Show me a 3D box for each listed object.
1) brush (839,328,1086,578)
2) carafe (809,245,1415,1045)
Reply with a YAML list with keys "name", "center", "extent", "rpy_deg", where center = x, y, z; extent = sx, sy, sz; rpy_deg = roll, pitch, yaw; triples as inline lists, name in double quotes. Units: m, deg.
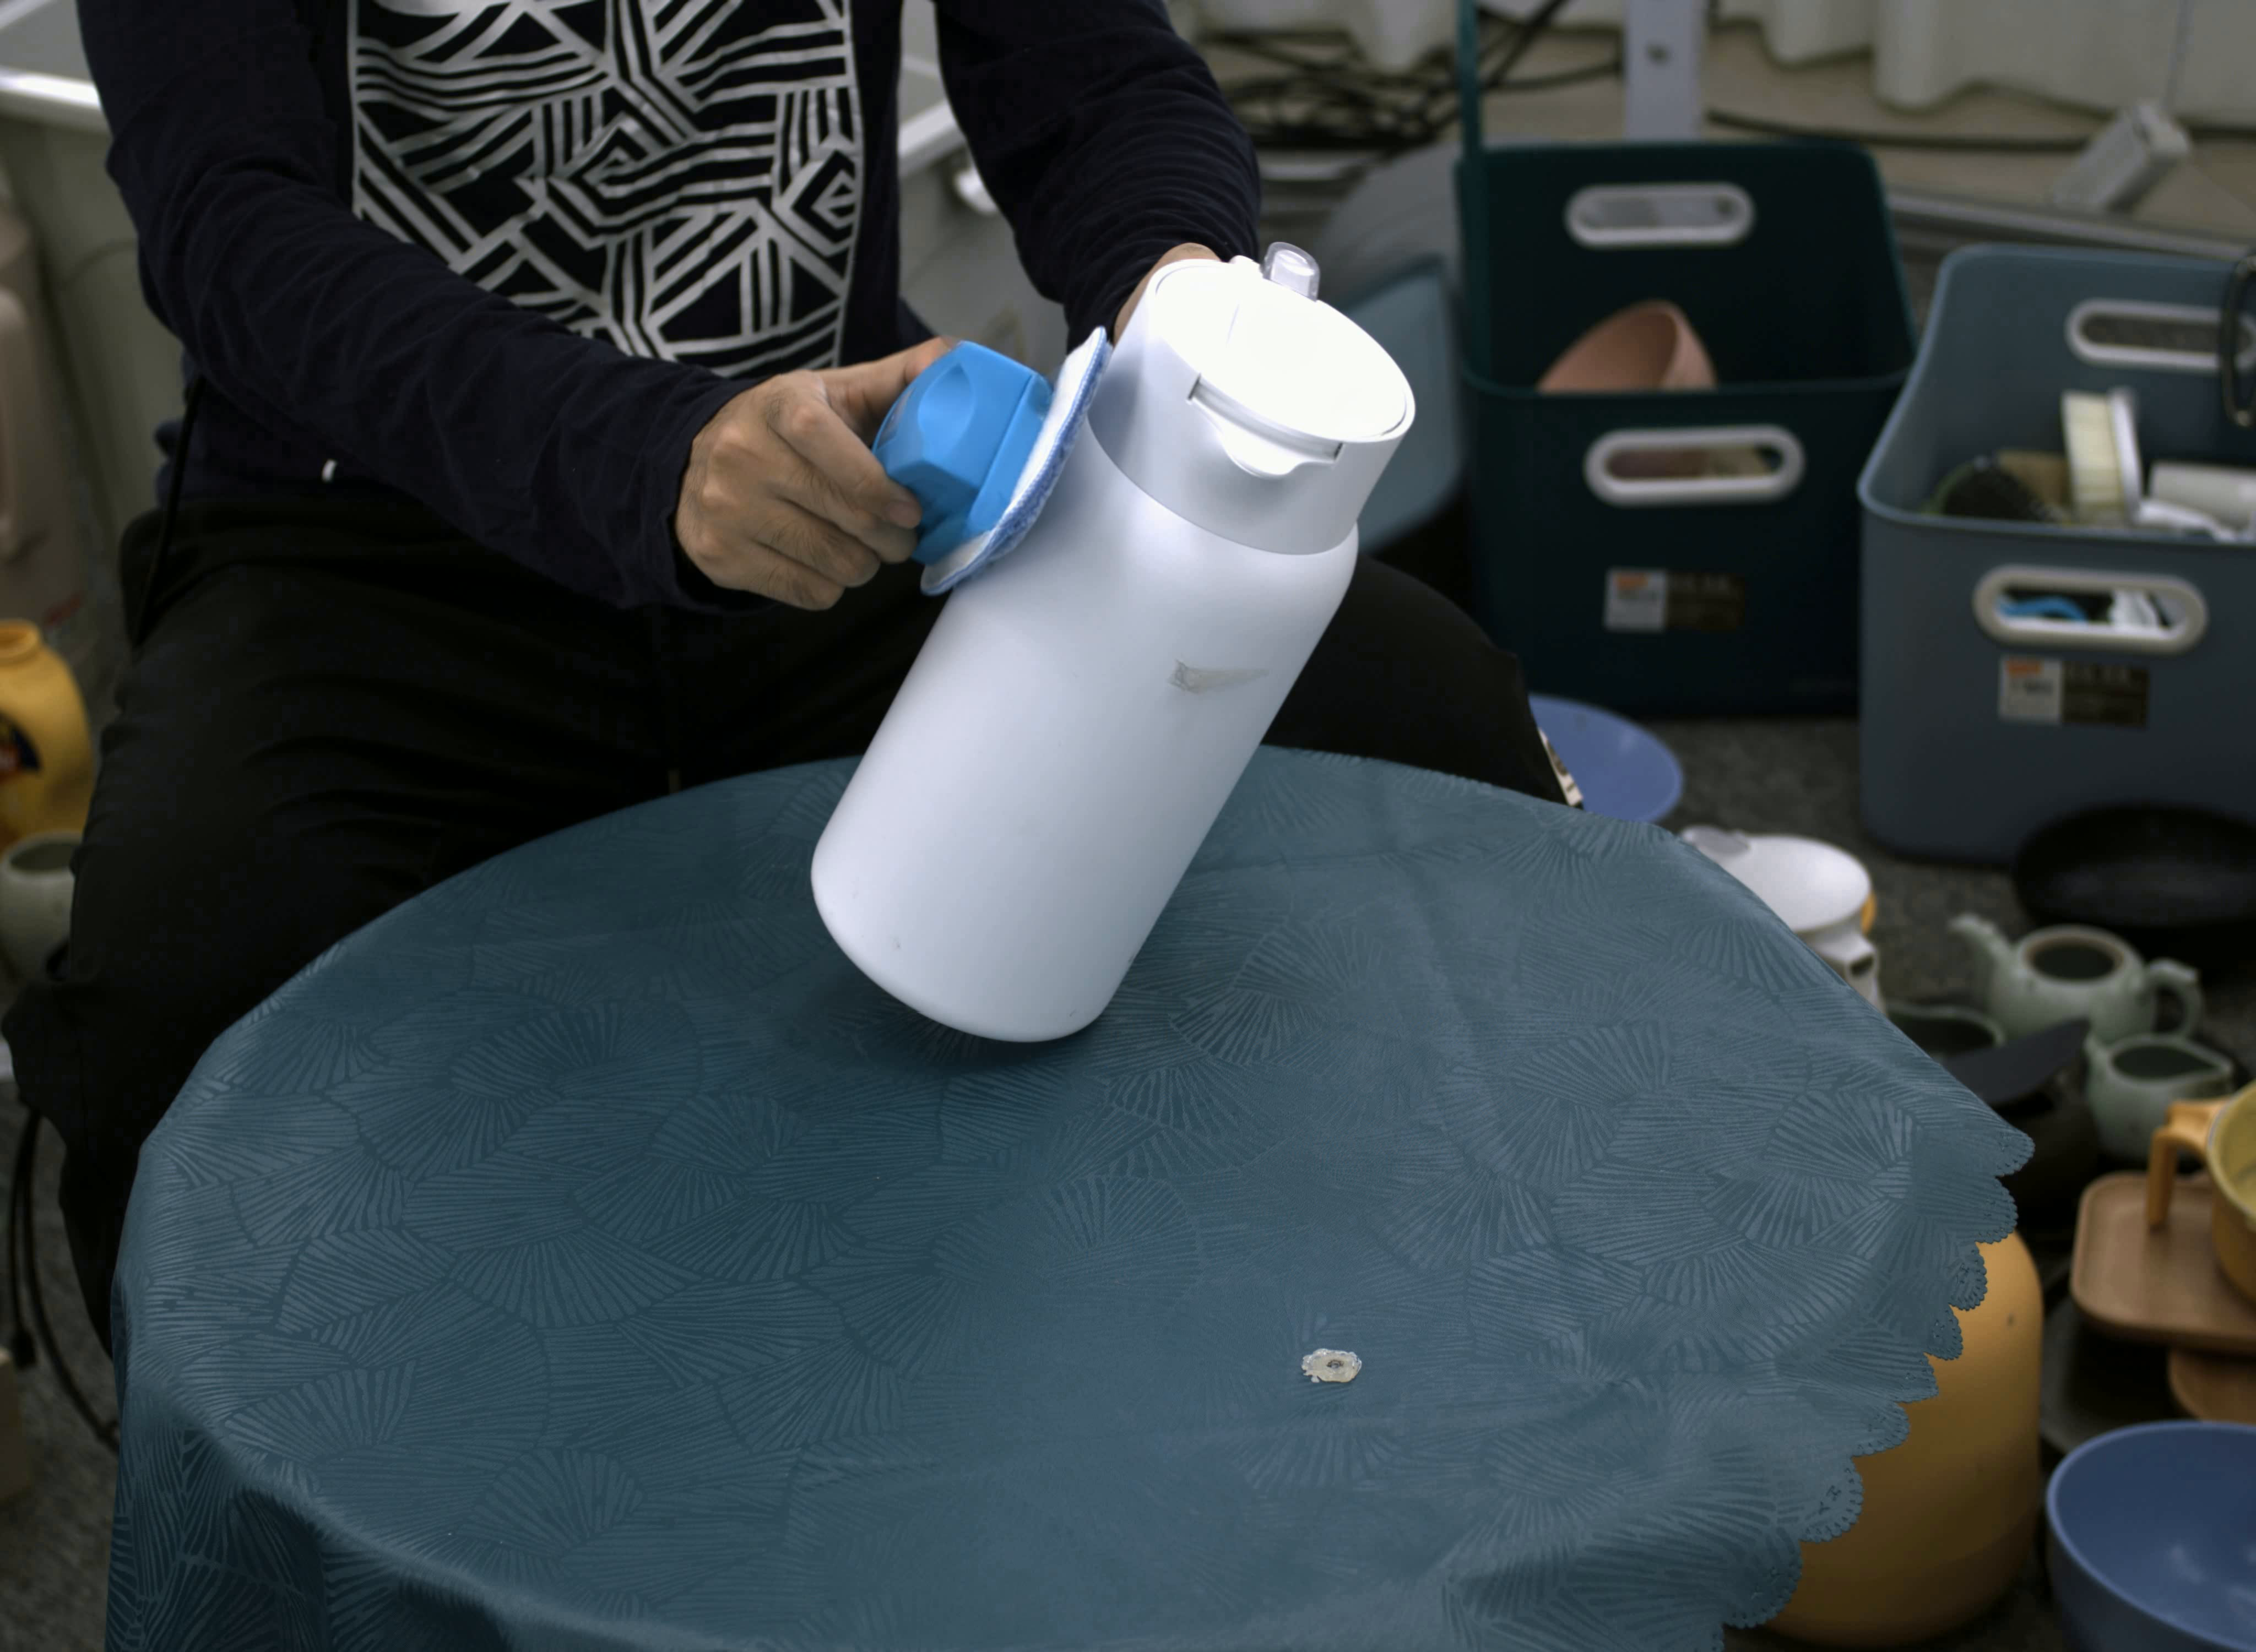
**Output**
- name: "brush"
  center: [-0.060, -0.129, 1.862]
  extent: [0.056, 0.084, 0.143]
  rpy_deg: [29, -9, -12]
- name: "carafe"
  center: [-0.005, -0.068, 1.922]
  extent: [0.123, 0.265, 0.176]
  rpy_deg: [22, 29, -9]
